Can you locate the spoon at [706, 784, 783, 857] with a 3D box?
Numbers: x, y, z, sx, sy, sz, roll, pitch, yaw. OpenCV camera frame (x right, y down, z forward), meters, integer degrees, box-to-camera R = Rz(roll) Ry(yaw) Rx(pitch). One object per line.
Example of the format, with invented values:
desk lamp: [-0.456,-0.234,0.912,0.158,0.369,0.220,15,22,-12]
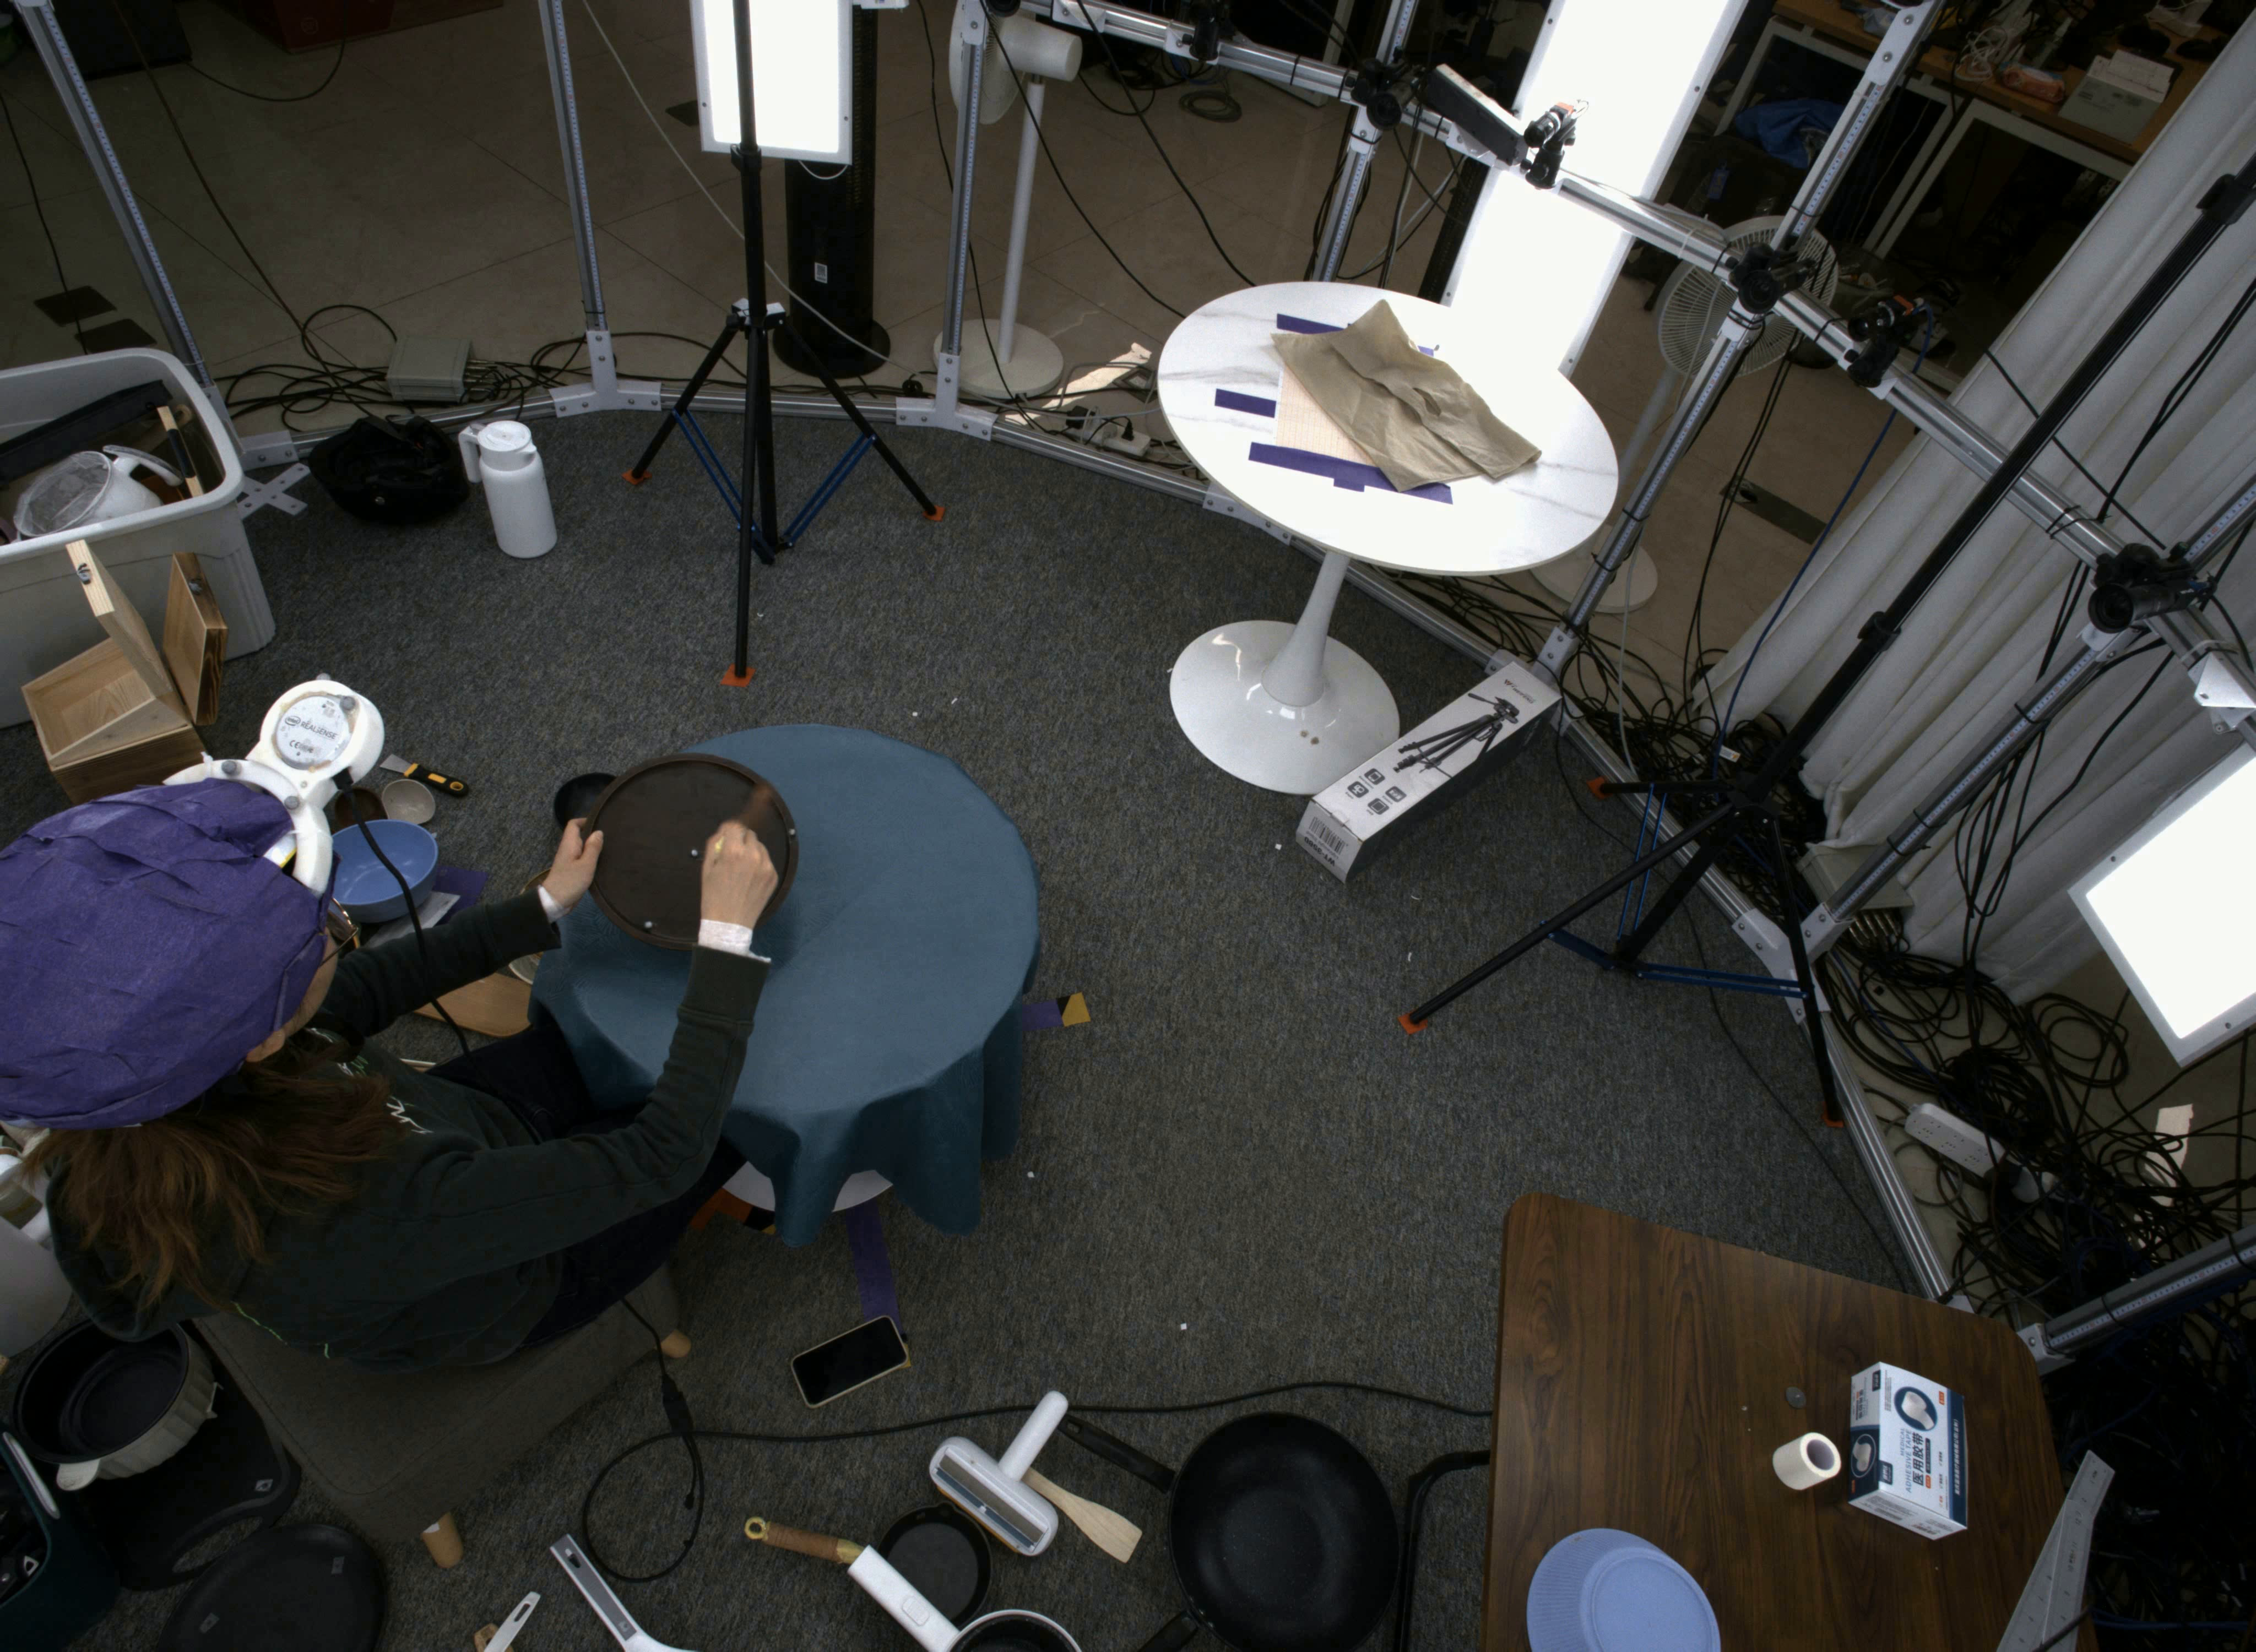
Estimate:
spoon: [-0.401,0.000,1.362,0.017,0.076,0.214,23,10,-2]

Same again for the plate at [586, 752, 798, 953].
plate: [-0.525,0.029,1.549,0.256,0.029,0.252,8,67,-17]
